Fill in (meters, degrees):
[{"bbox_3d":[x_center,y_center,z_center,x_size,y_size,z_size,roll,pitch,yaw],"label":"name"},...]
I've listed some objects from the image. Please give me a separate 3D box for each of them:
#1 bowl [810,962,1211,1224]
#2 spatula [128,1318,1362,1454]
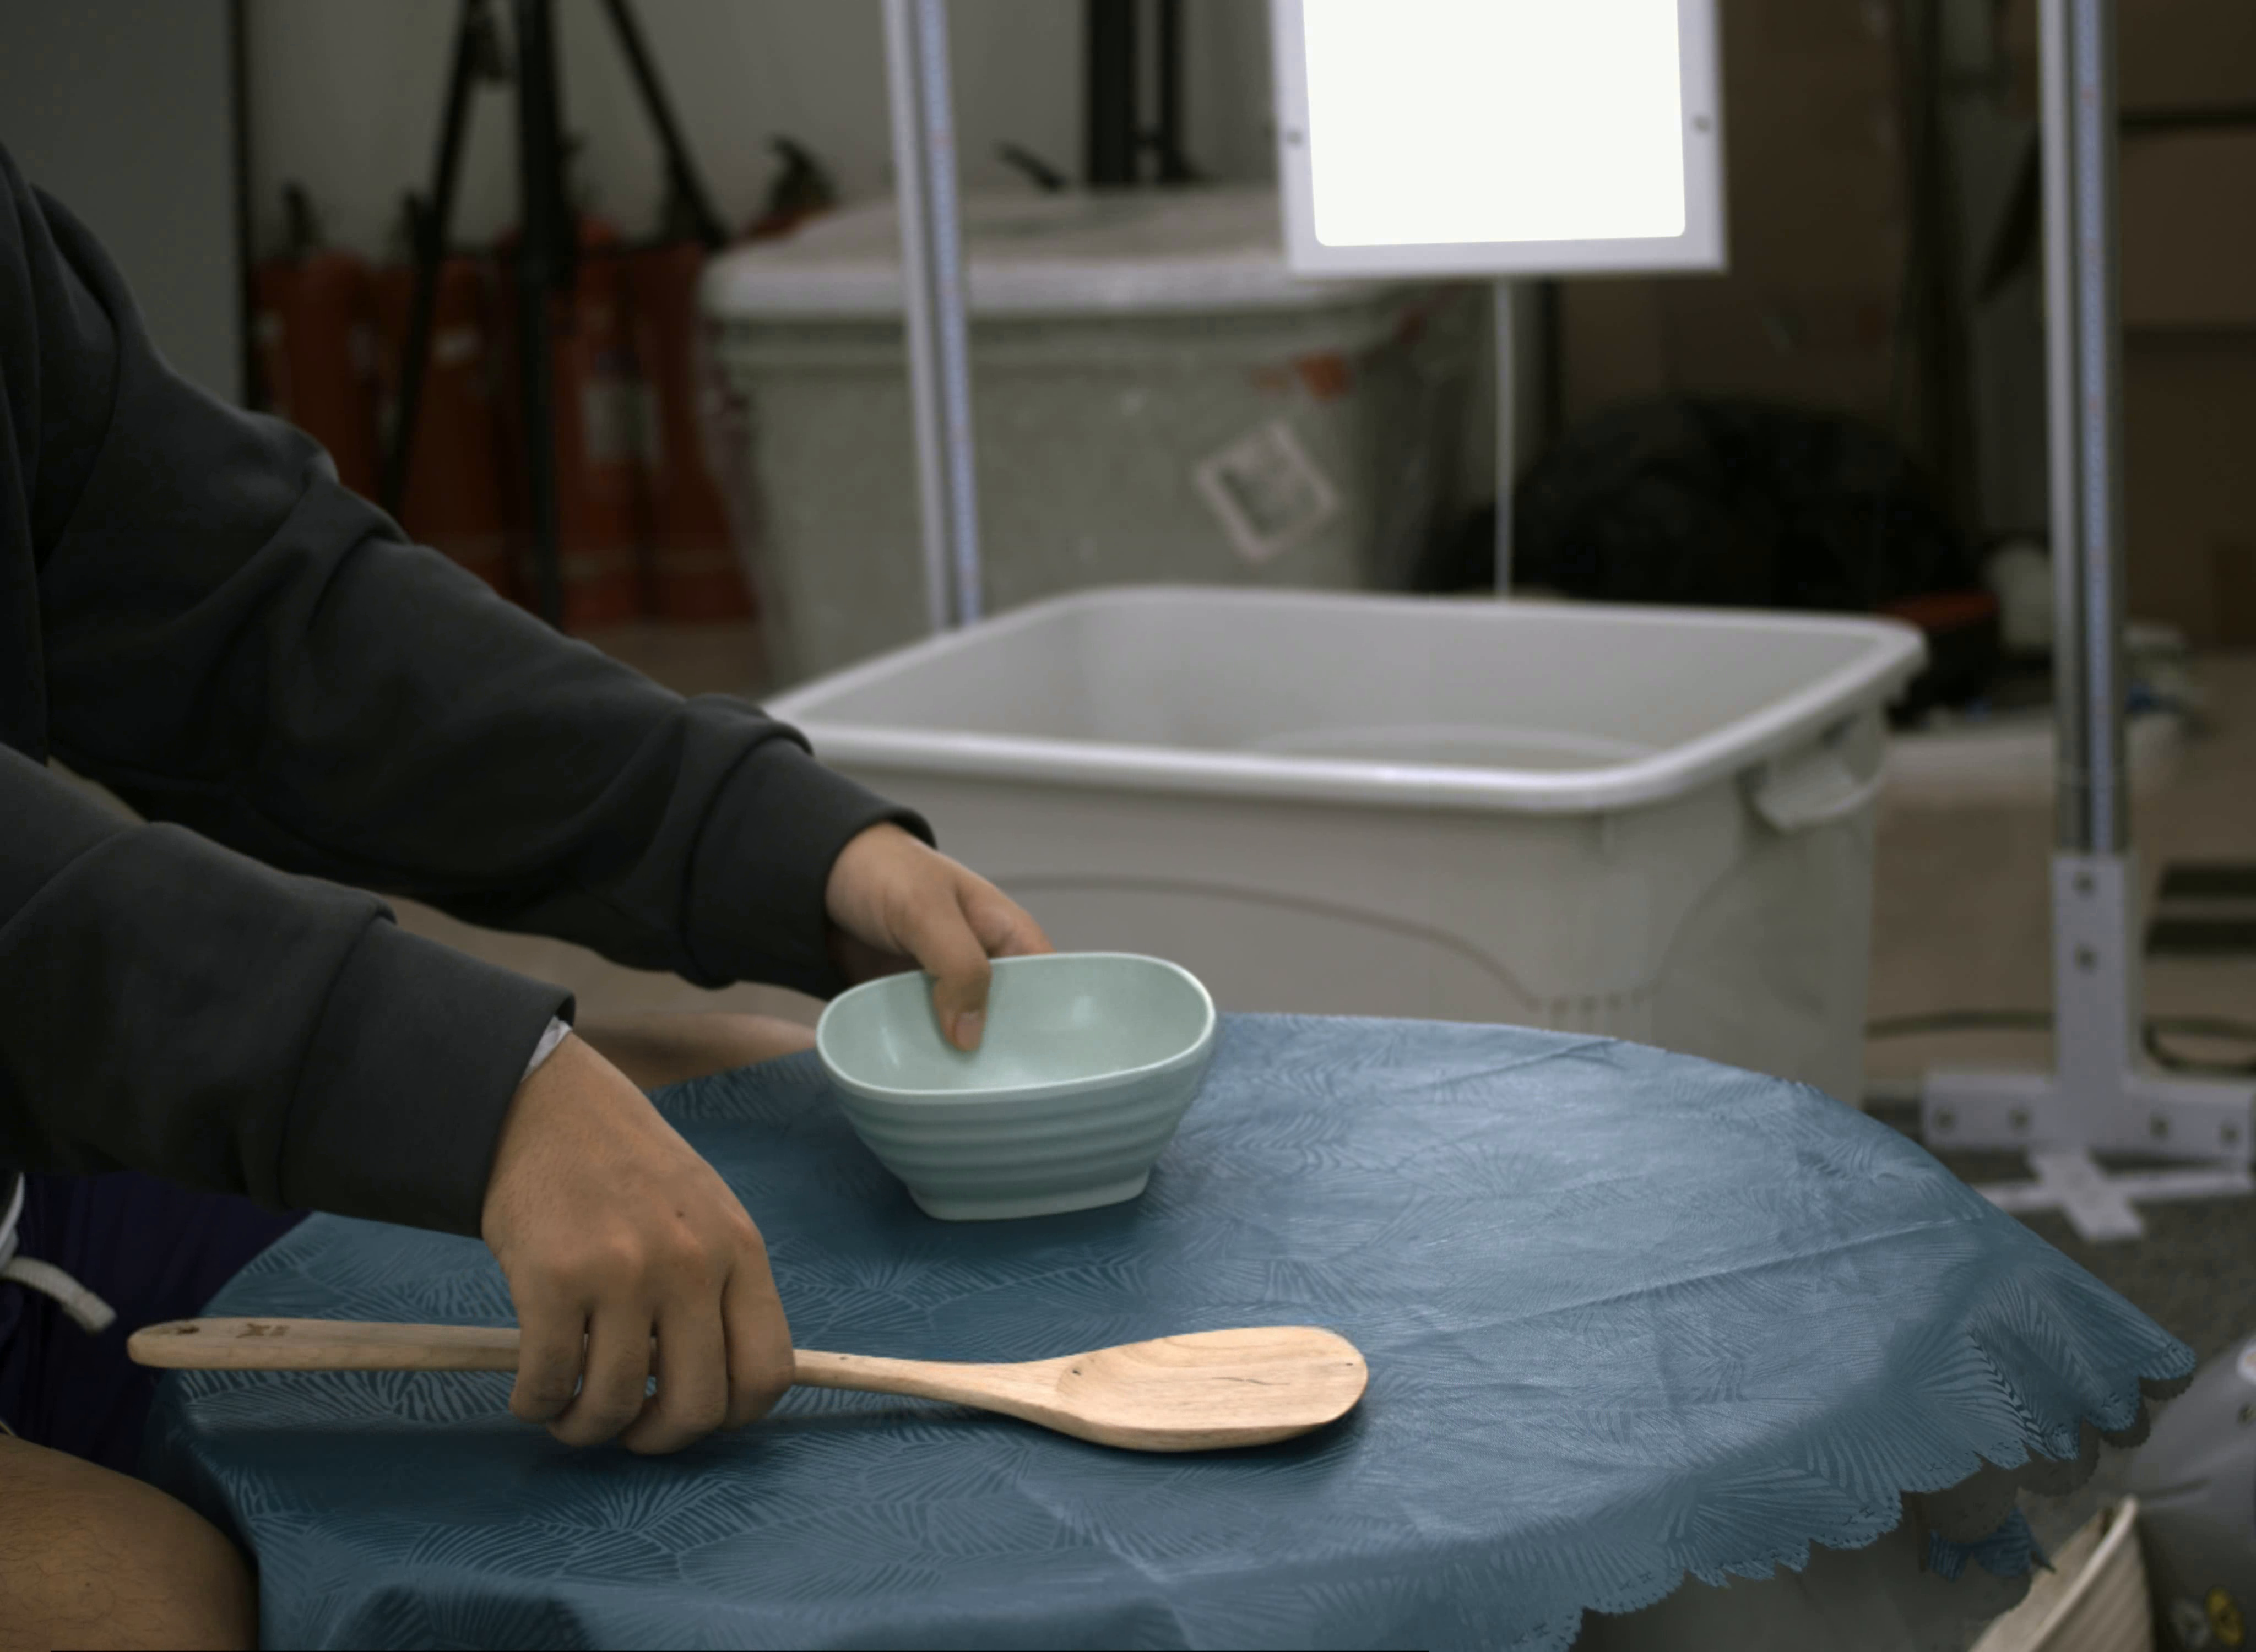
[{"bbox_3d":[-0.039,0.096,1.912,0.151,0.059,0.151,-4,17,0],"label":"bowl"},{"bbox_3d":[-0.122,0.168,1.700,0.393,0.018,0.095,3,12,11],"label":"spatula"}]
